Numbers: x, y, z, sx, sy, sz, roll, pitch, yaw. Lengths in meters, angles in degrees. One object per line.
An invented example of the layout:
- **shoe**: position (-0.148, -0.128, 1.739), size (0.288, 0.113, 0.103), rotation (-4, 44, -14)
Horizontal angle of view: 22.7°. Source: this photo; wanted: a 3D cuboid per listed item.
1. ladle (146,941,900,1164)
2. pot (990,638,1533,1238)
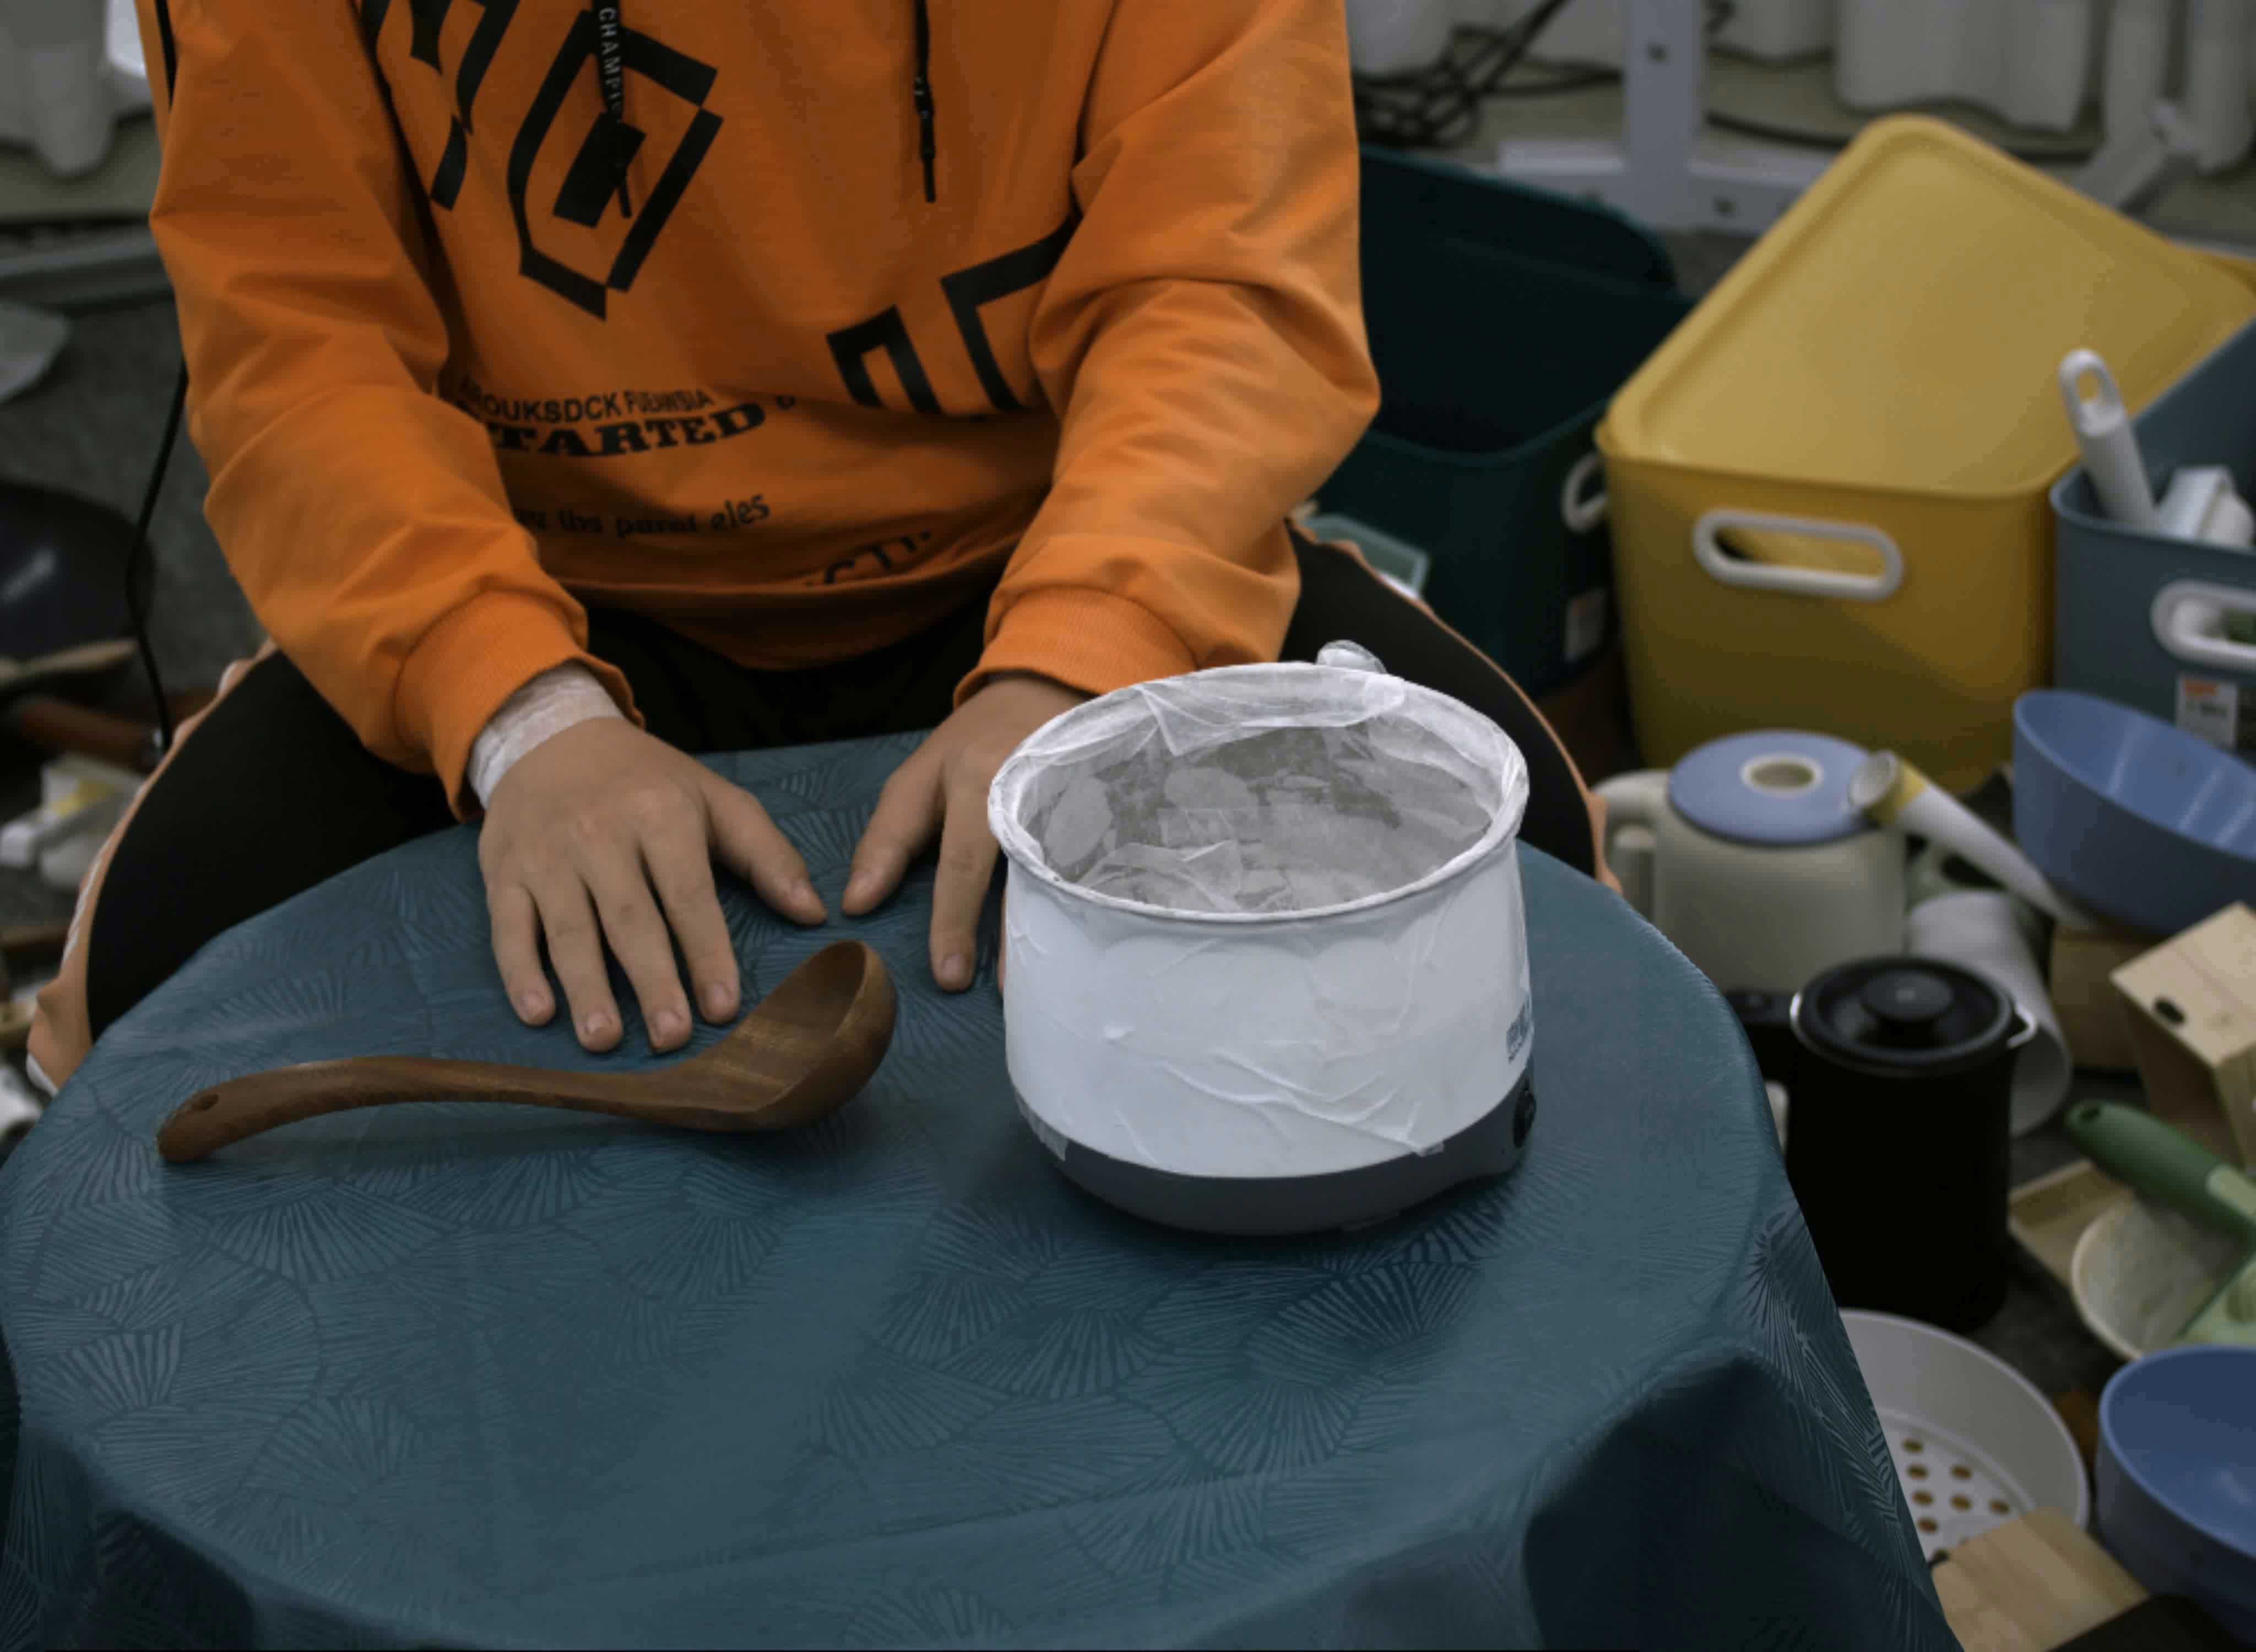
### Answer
- **ladle**: position (-0.205, 0.078, 1.898), size (0.259, 0.064, 0.077), rotation (-3, 24, 1)
- **pot**: position (0.053, 0.030, 1.886), size (0.177, 0.135, 0.238), rotation (6, 29, 15)
